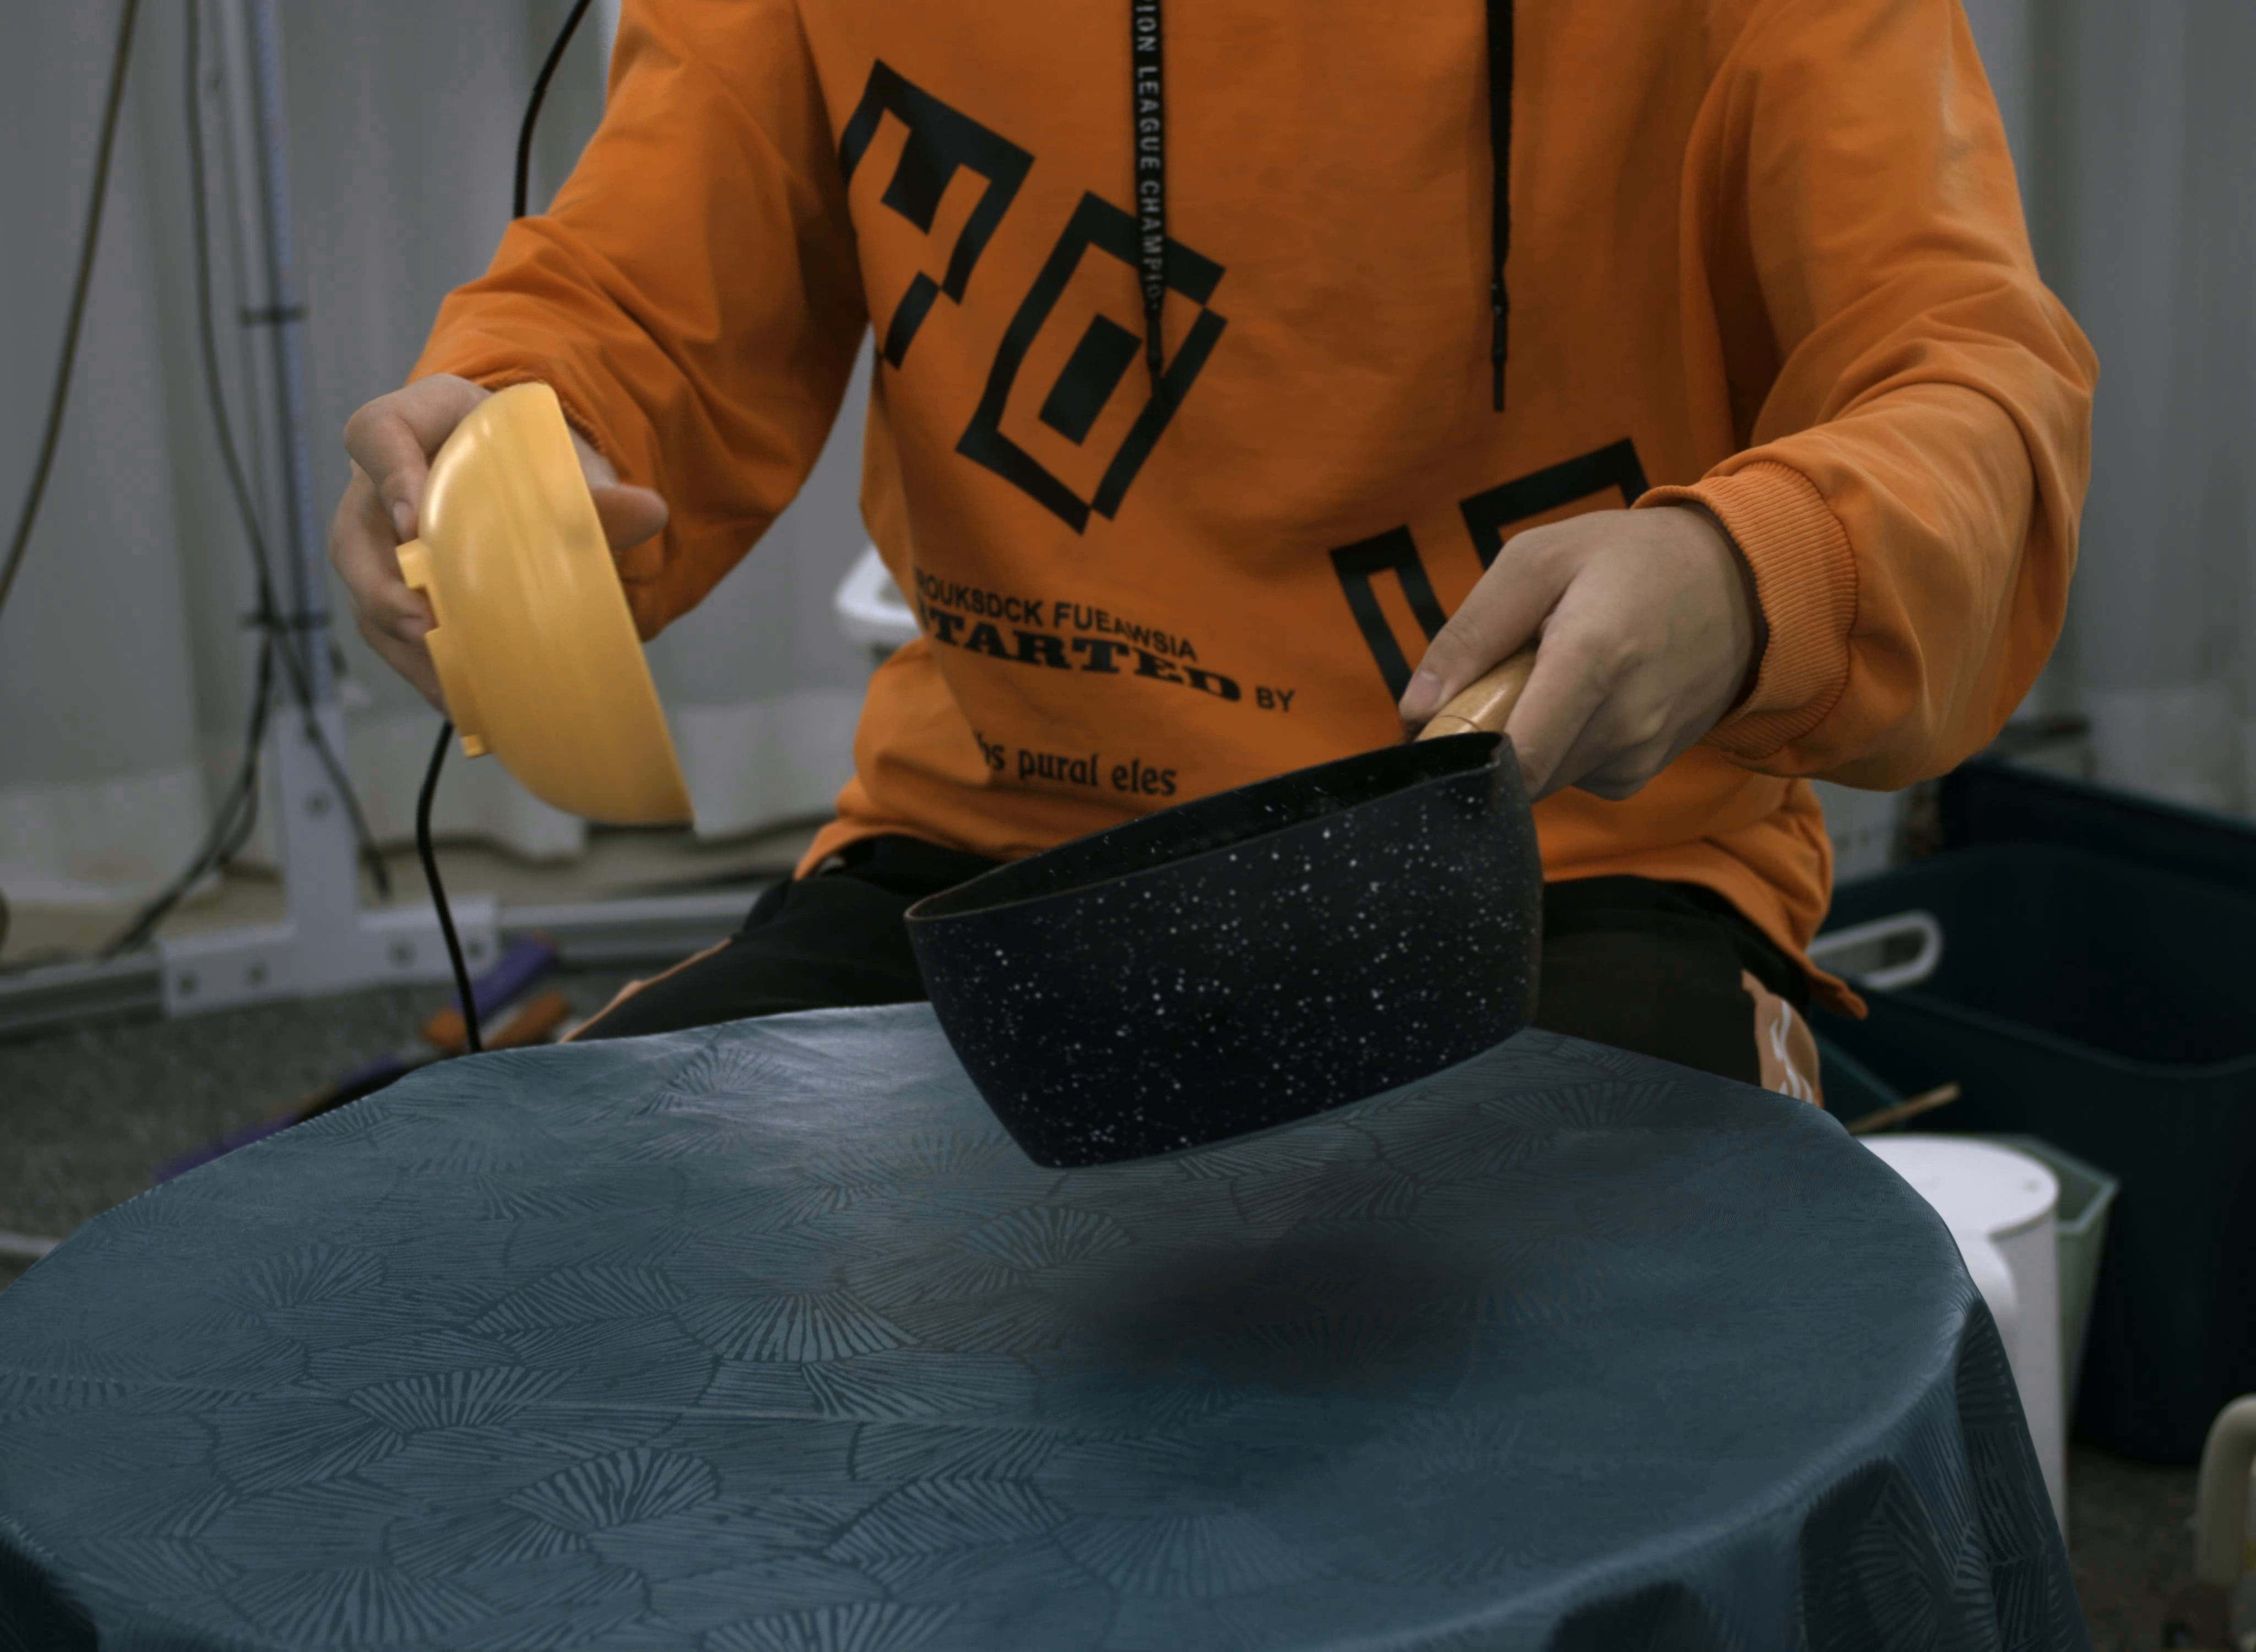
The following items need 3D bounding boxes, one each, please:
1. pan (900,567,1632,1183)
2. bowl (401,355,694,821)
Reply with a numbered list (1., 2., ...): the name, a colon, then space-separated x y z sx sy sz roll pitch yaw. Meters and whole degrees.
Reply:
1. pan: 0.073 0.010 1.651 0.207 0.108 0.343 -15 6 35
2. bowl: -0.178 -0.062 1.626 0.060 0.144 0.146 -18 16 -5
